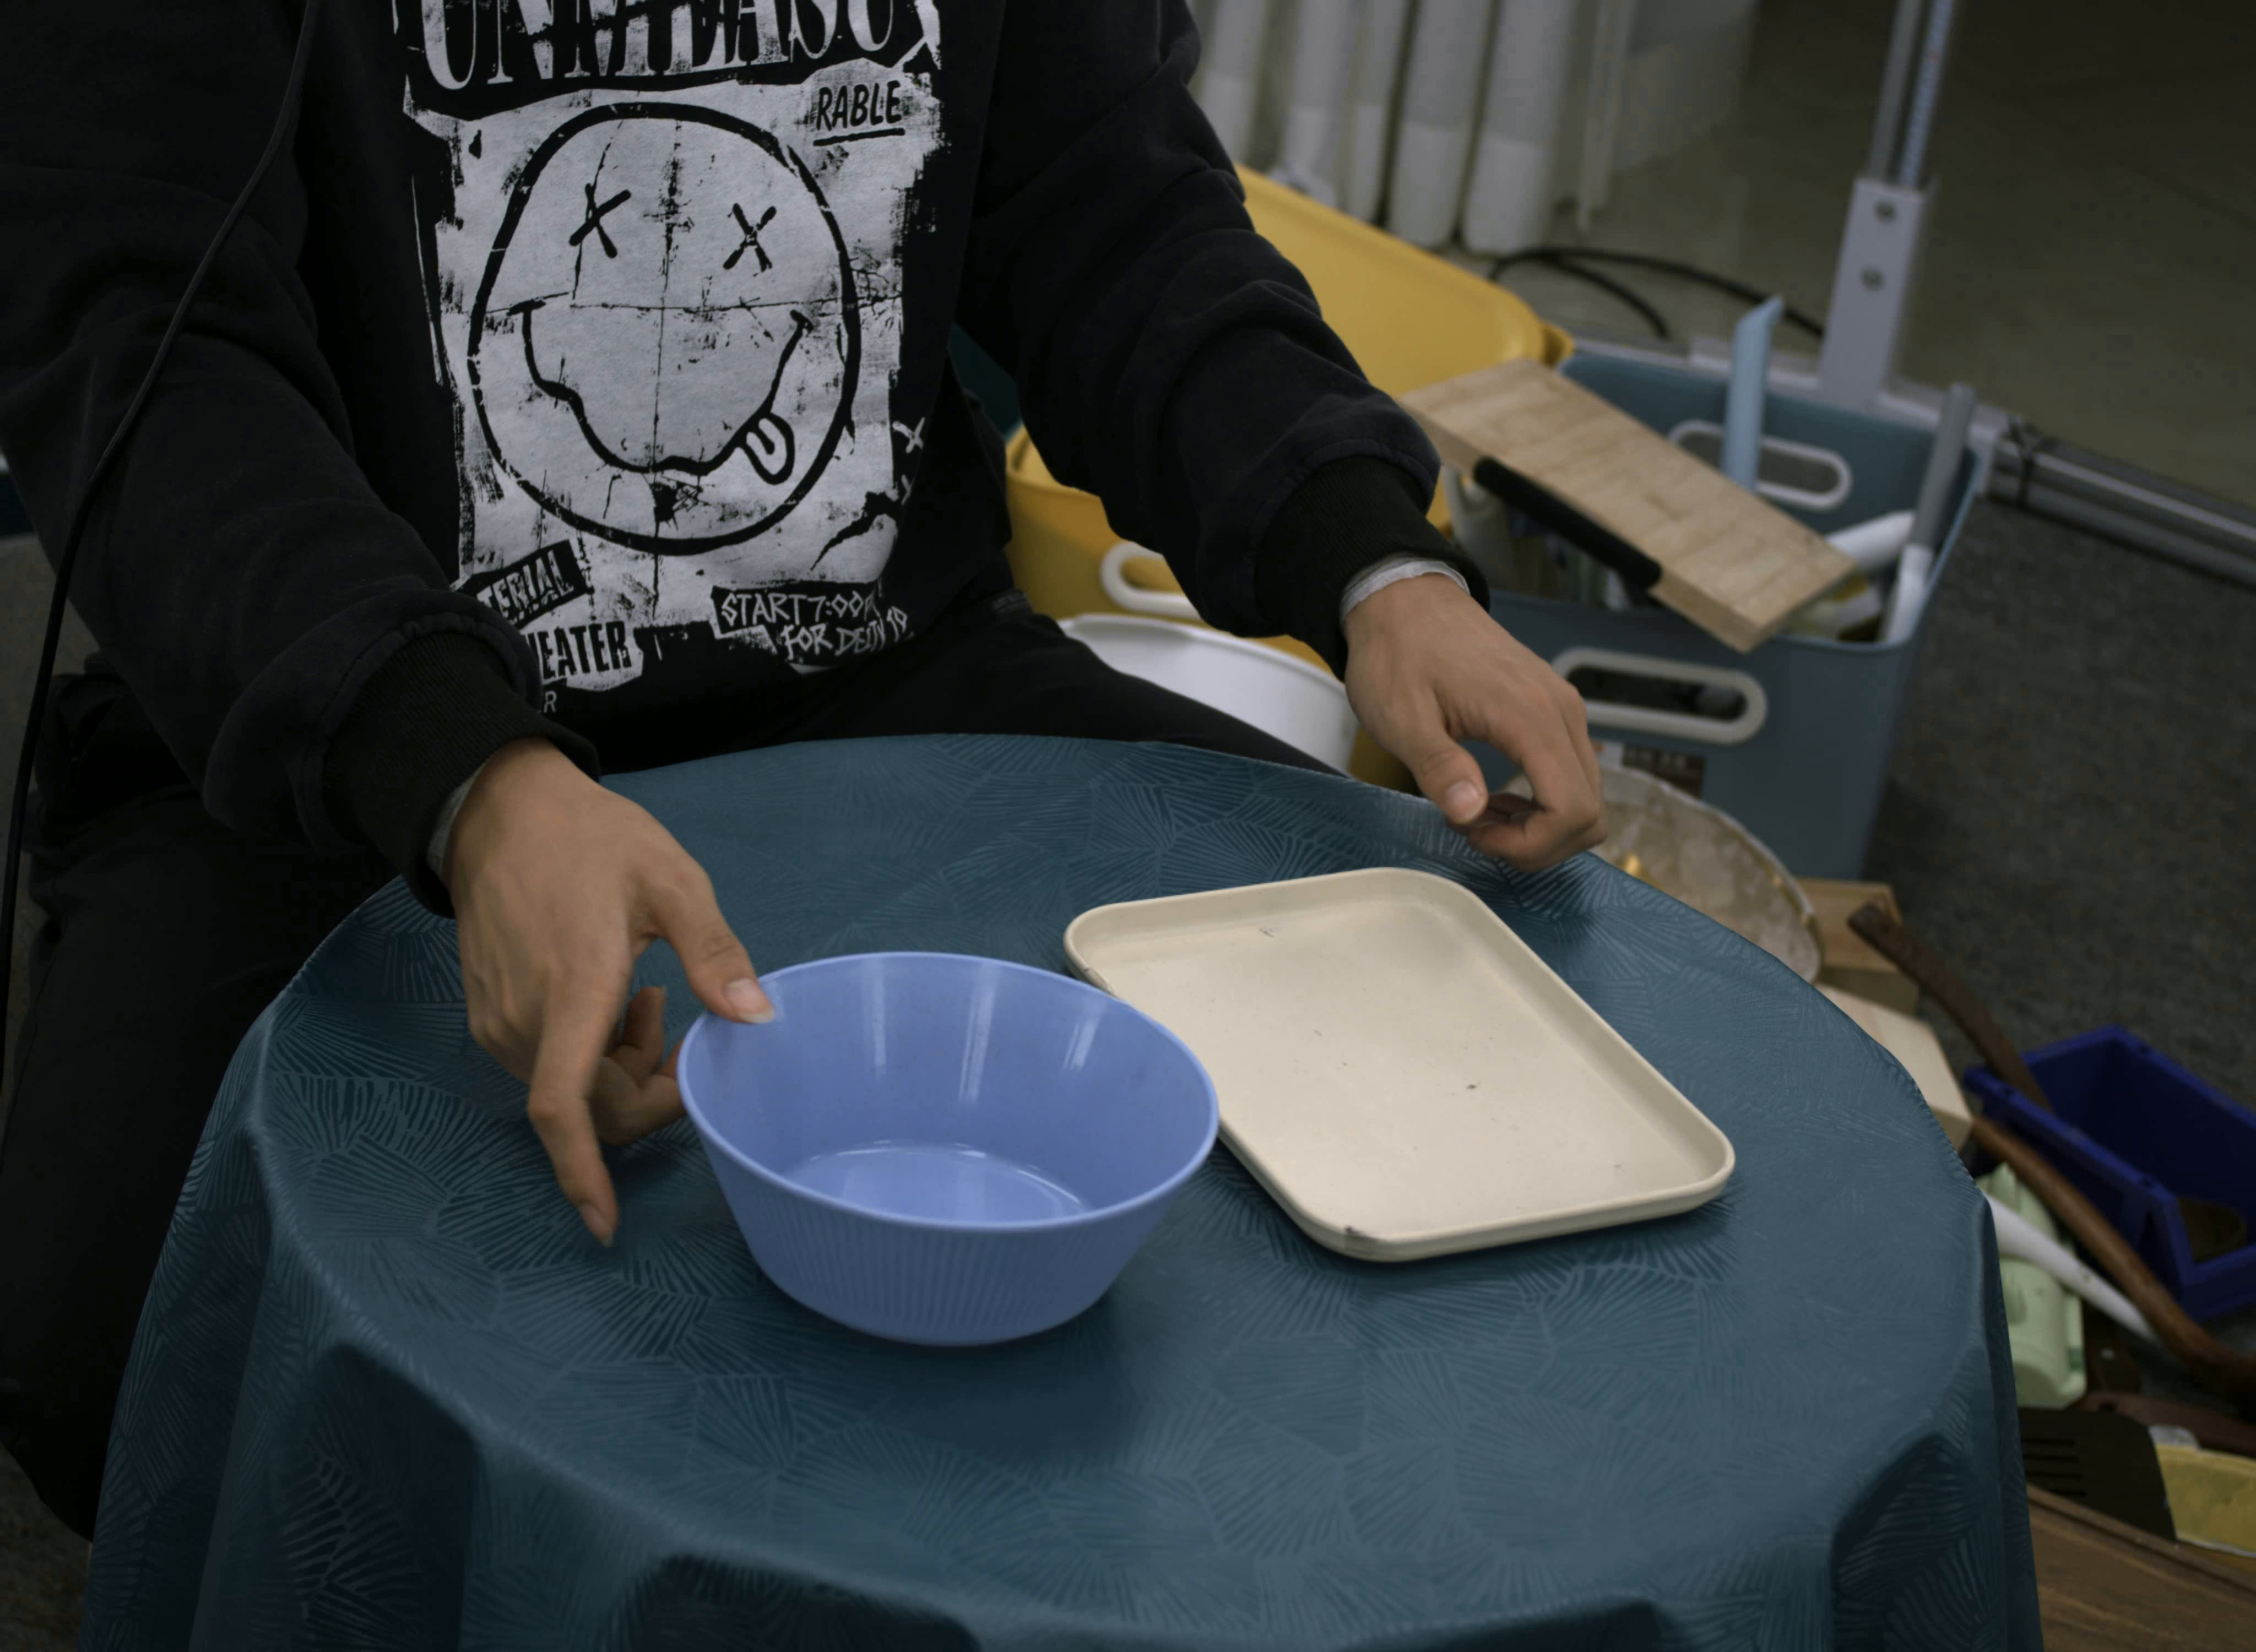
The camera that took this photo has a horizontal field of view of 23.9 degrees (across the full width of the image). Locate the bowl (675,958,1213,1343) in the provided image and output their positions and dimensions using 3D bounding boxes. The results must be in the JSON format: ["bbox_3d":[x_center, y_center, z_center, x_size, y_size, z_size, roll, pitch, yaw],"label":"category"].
[{"bbox_3d":[-0.063,0.111,1.732,0.175,0.070,0.177,6,26,-3],"label":"bowl"}]

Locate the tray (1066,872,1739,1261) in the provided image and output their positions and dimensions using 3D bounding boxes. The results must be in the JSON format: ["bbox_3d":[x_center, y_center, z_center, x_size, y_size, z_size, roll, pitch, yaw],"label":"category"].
[{"bbox_3d":[0.093,0.084,1.881,0.170,0.017,0.242,-6,29,-25],"label":"tray"}]
